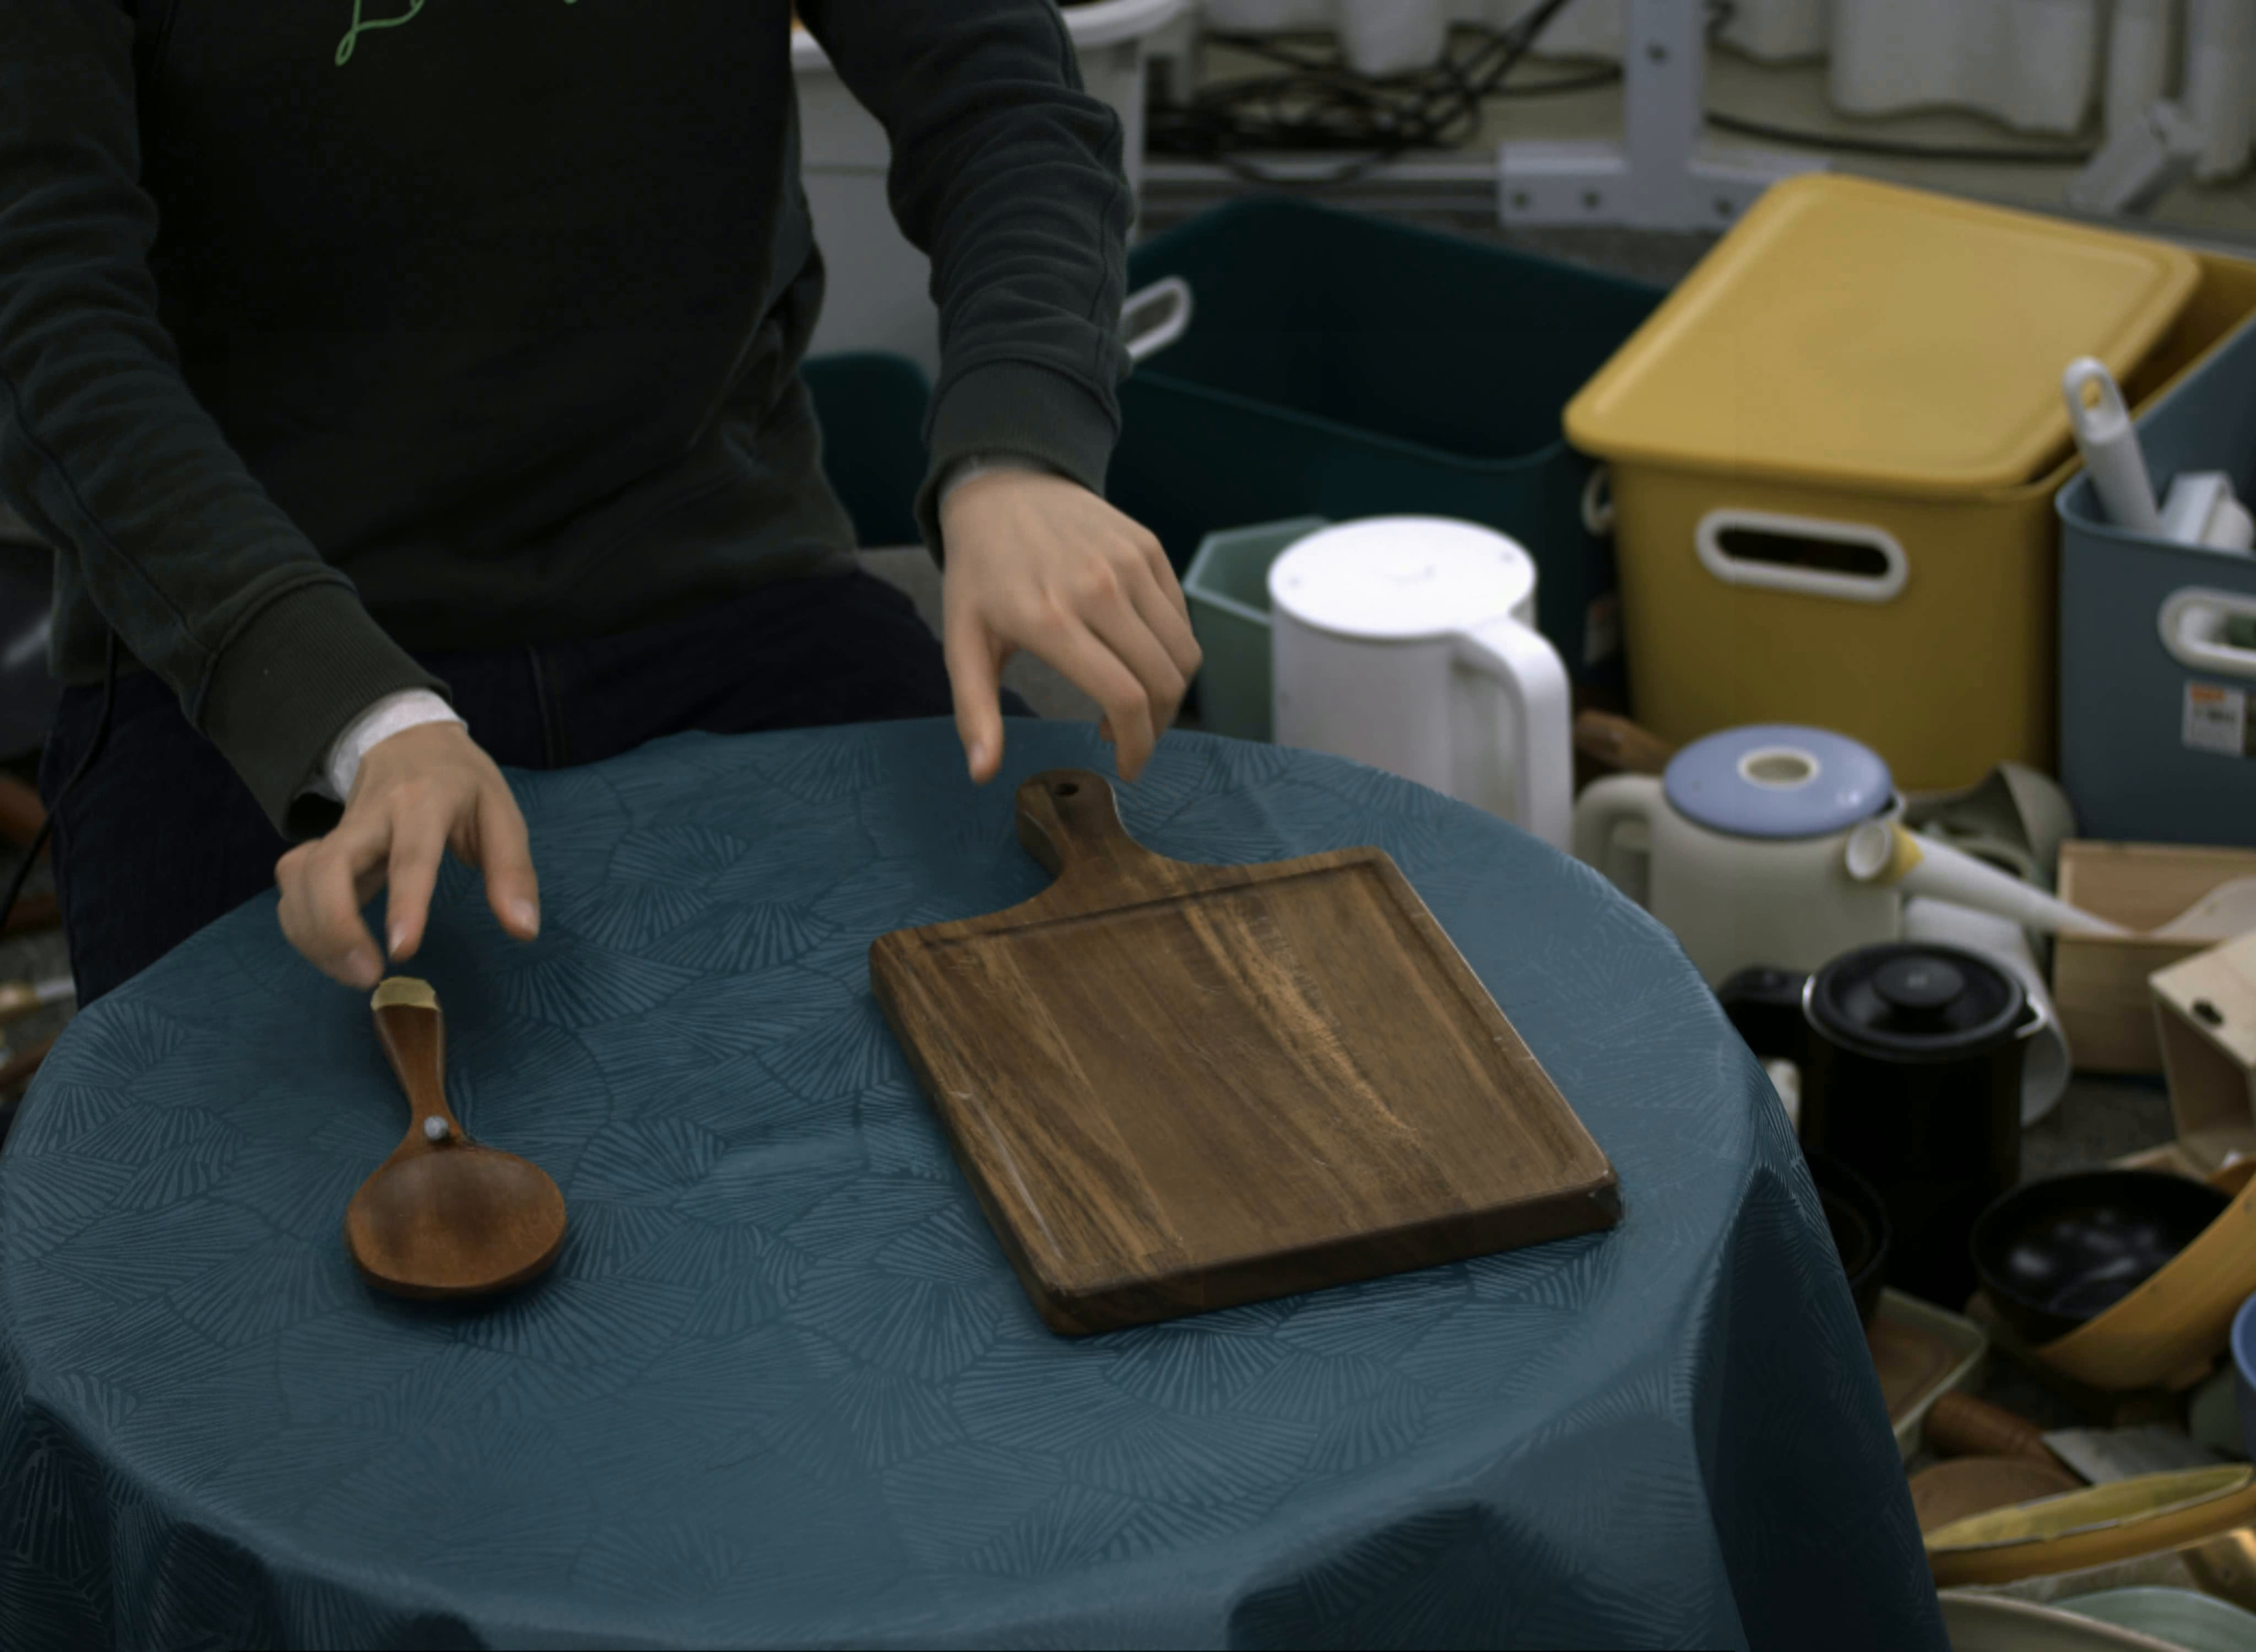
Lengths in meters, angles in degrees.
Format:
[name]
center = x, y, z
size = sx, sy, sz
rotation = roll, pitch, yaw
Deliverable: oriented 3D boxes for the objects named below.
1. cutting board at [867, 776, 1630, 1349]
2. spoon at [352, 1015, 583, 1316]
[cutting board]
center = 0.022, 0.066, 1.949
size = 0.201, 0.023, 0.355
rotation = -11, 28, -13
[spoon]
center = -0.219, 0.116, 1.891
size = 0.075, 0.017, 0.218
rotation = -2, 23, -3
